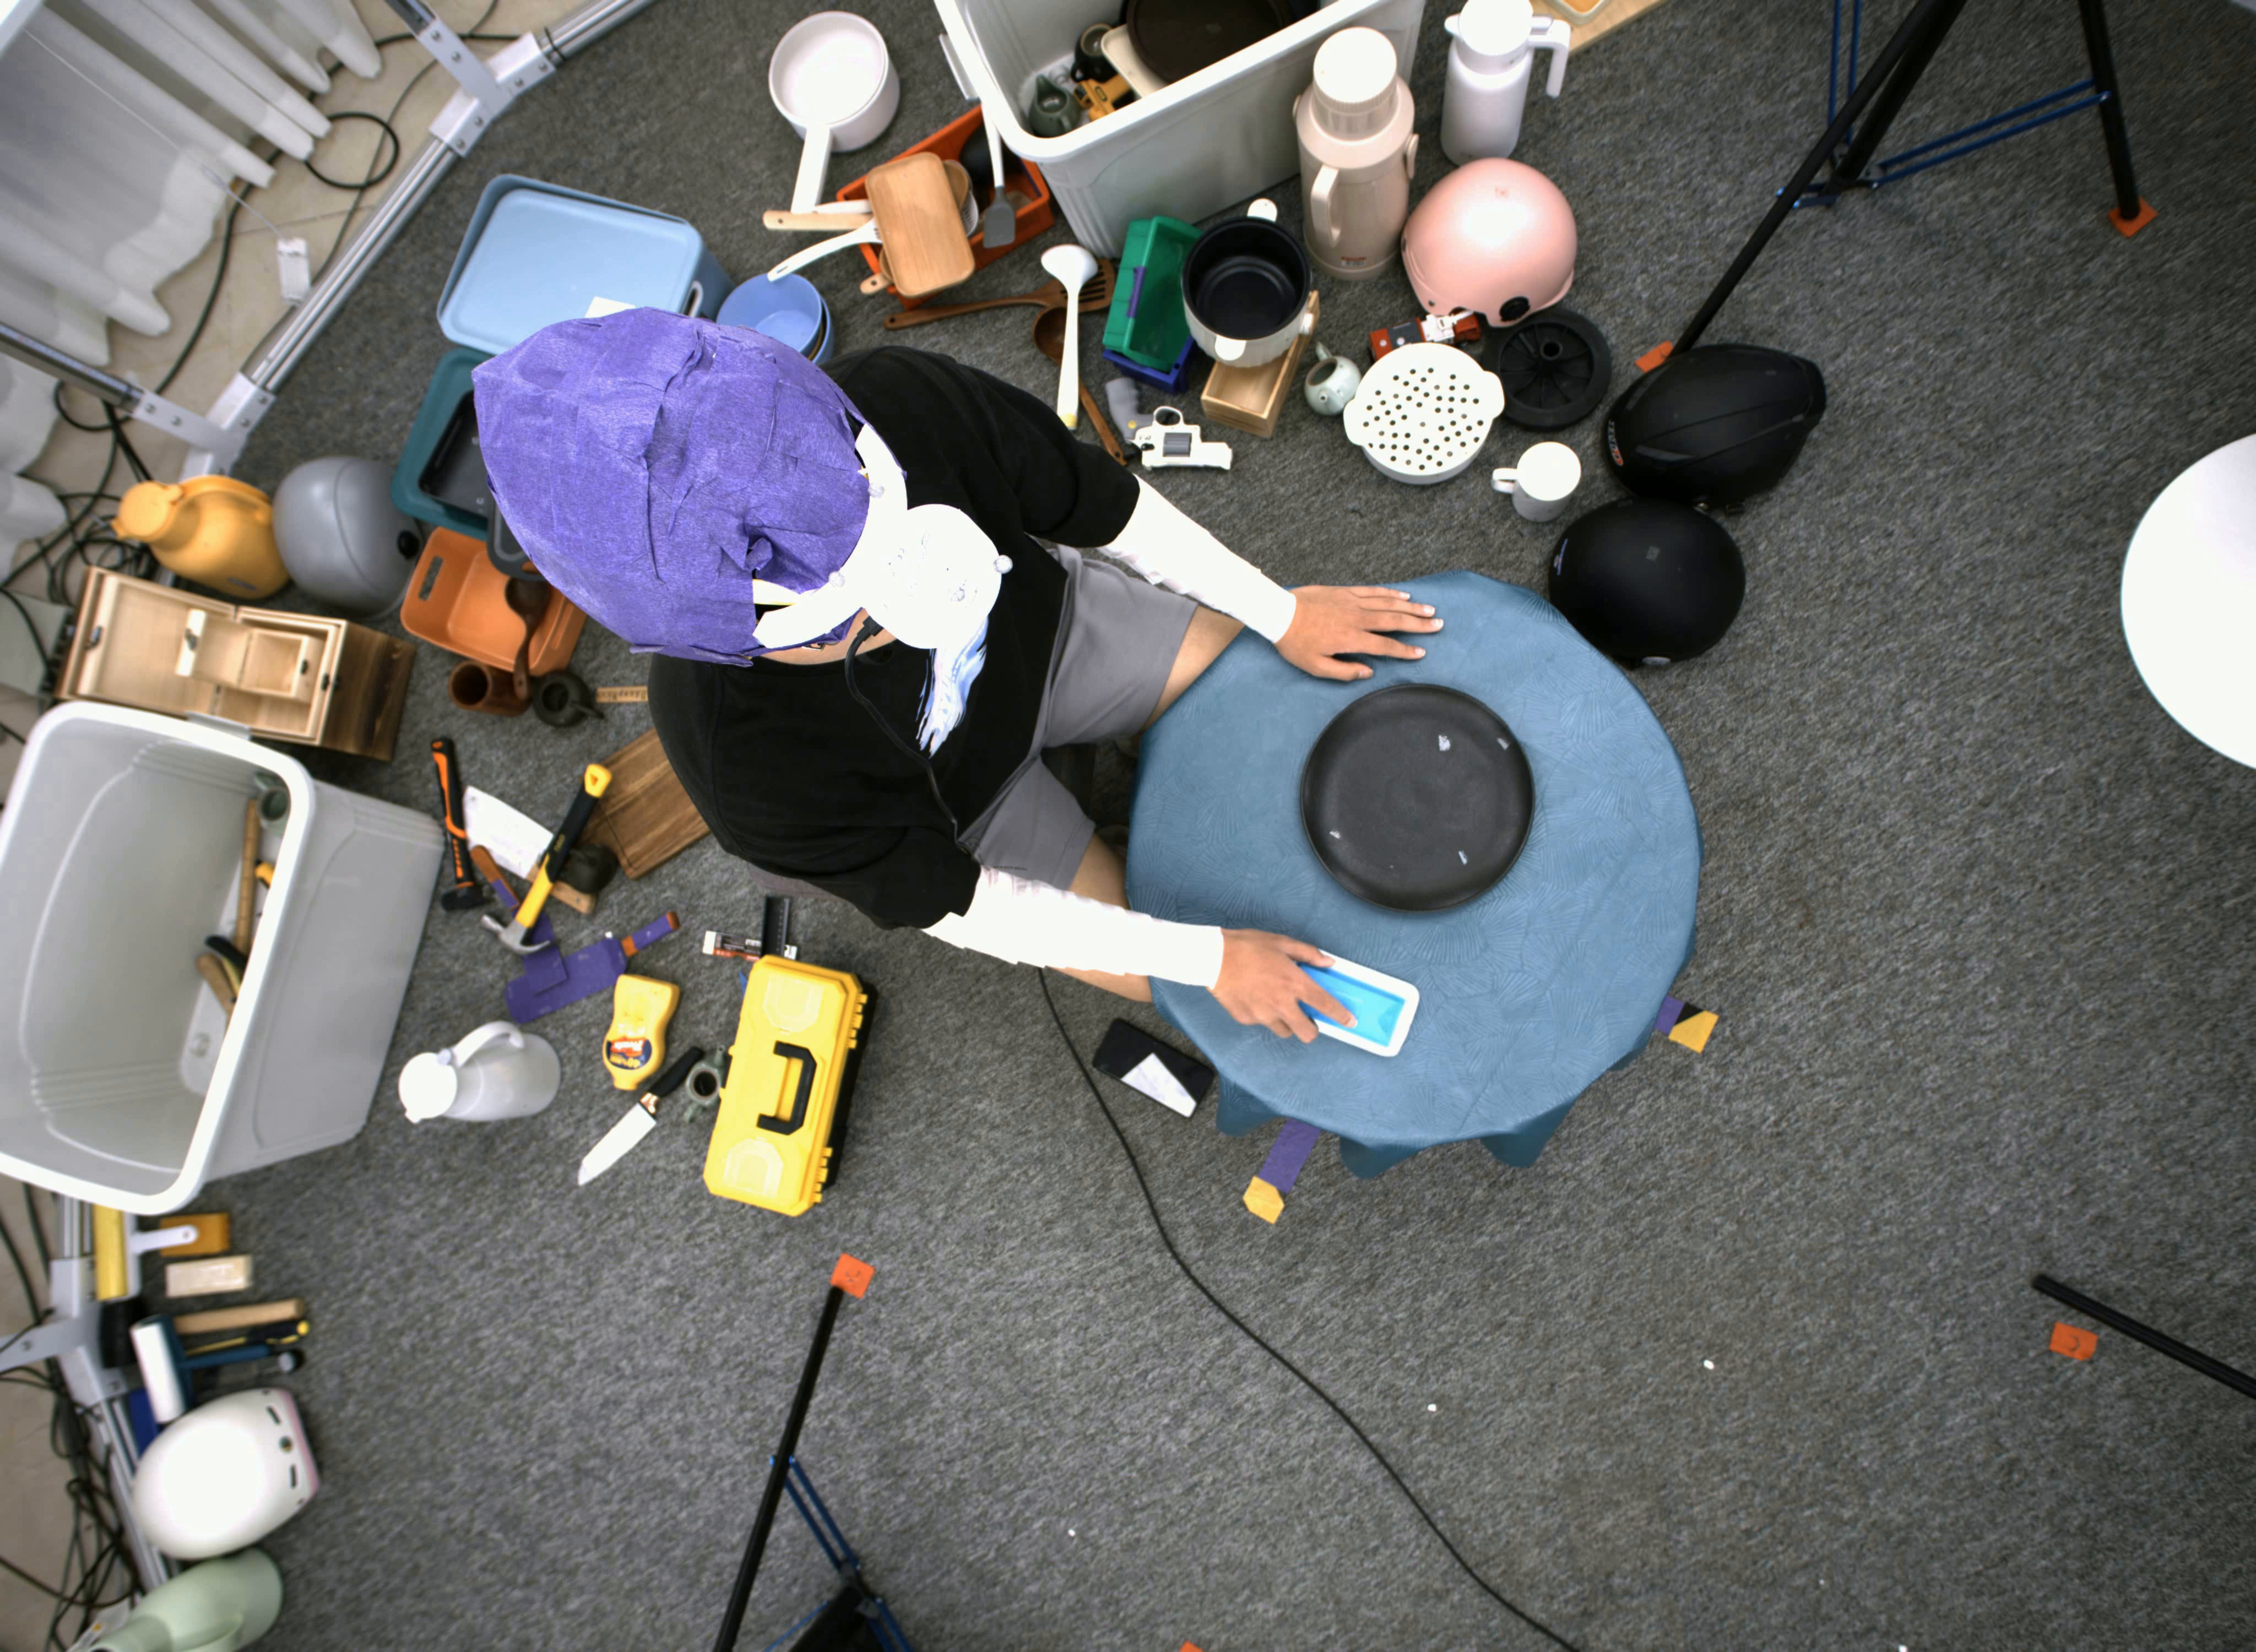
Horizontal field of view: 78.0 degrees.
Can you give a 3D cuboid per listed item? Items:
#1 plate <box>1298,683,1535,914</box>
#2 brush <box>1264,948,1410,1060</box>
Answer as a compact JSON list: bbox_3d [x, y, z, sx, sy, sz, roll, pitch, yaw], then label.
[{"bbox_3d":[0.302,-0.030,1.446,0.245,0.023,0.243,-1,87,11],"label":"plate"},{"bbox_3d":[0.217,0.182,1.431,0.144,0.056,0.083,20,86,8],"label":"brush"}]
